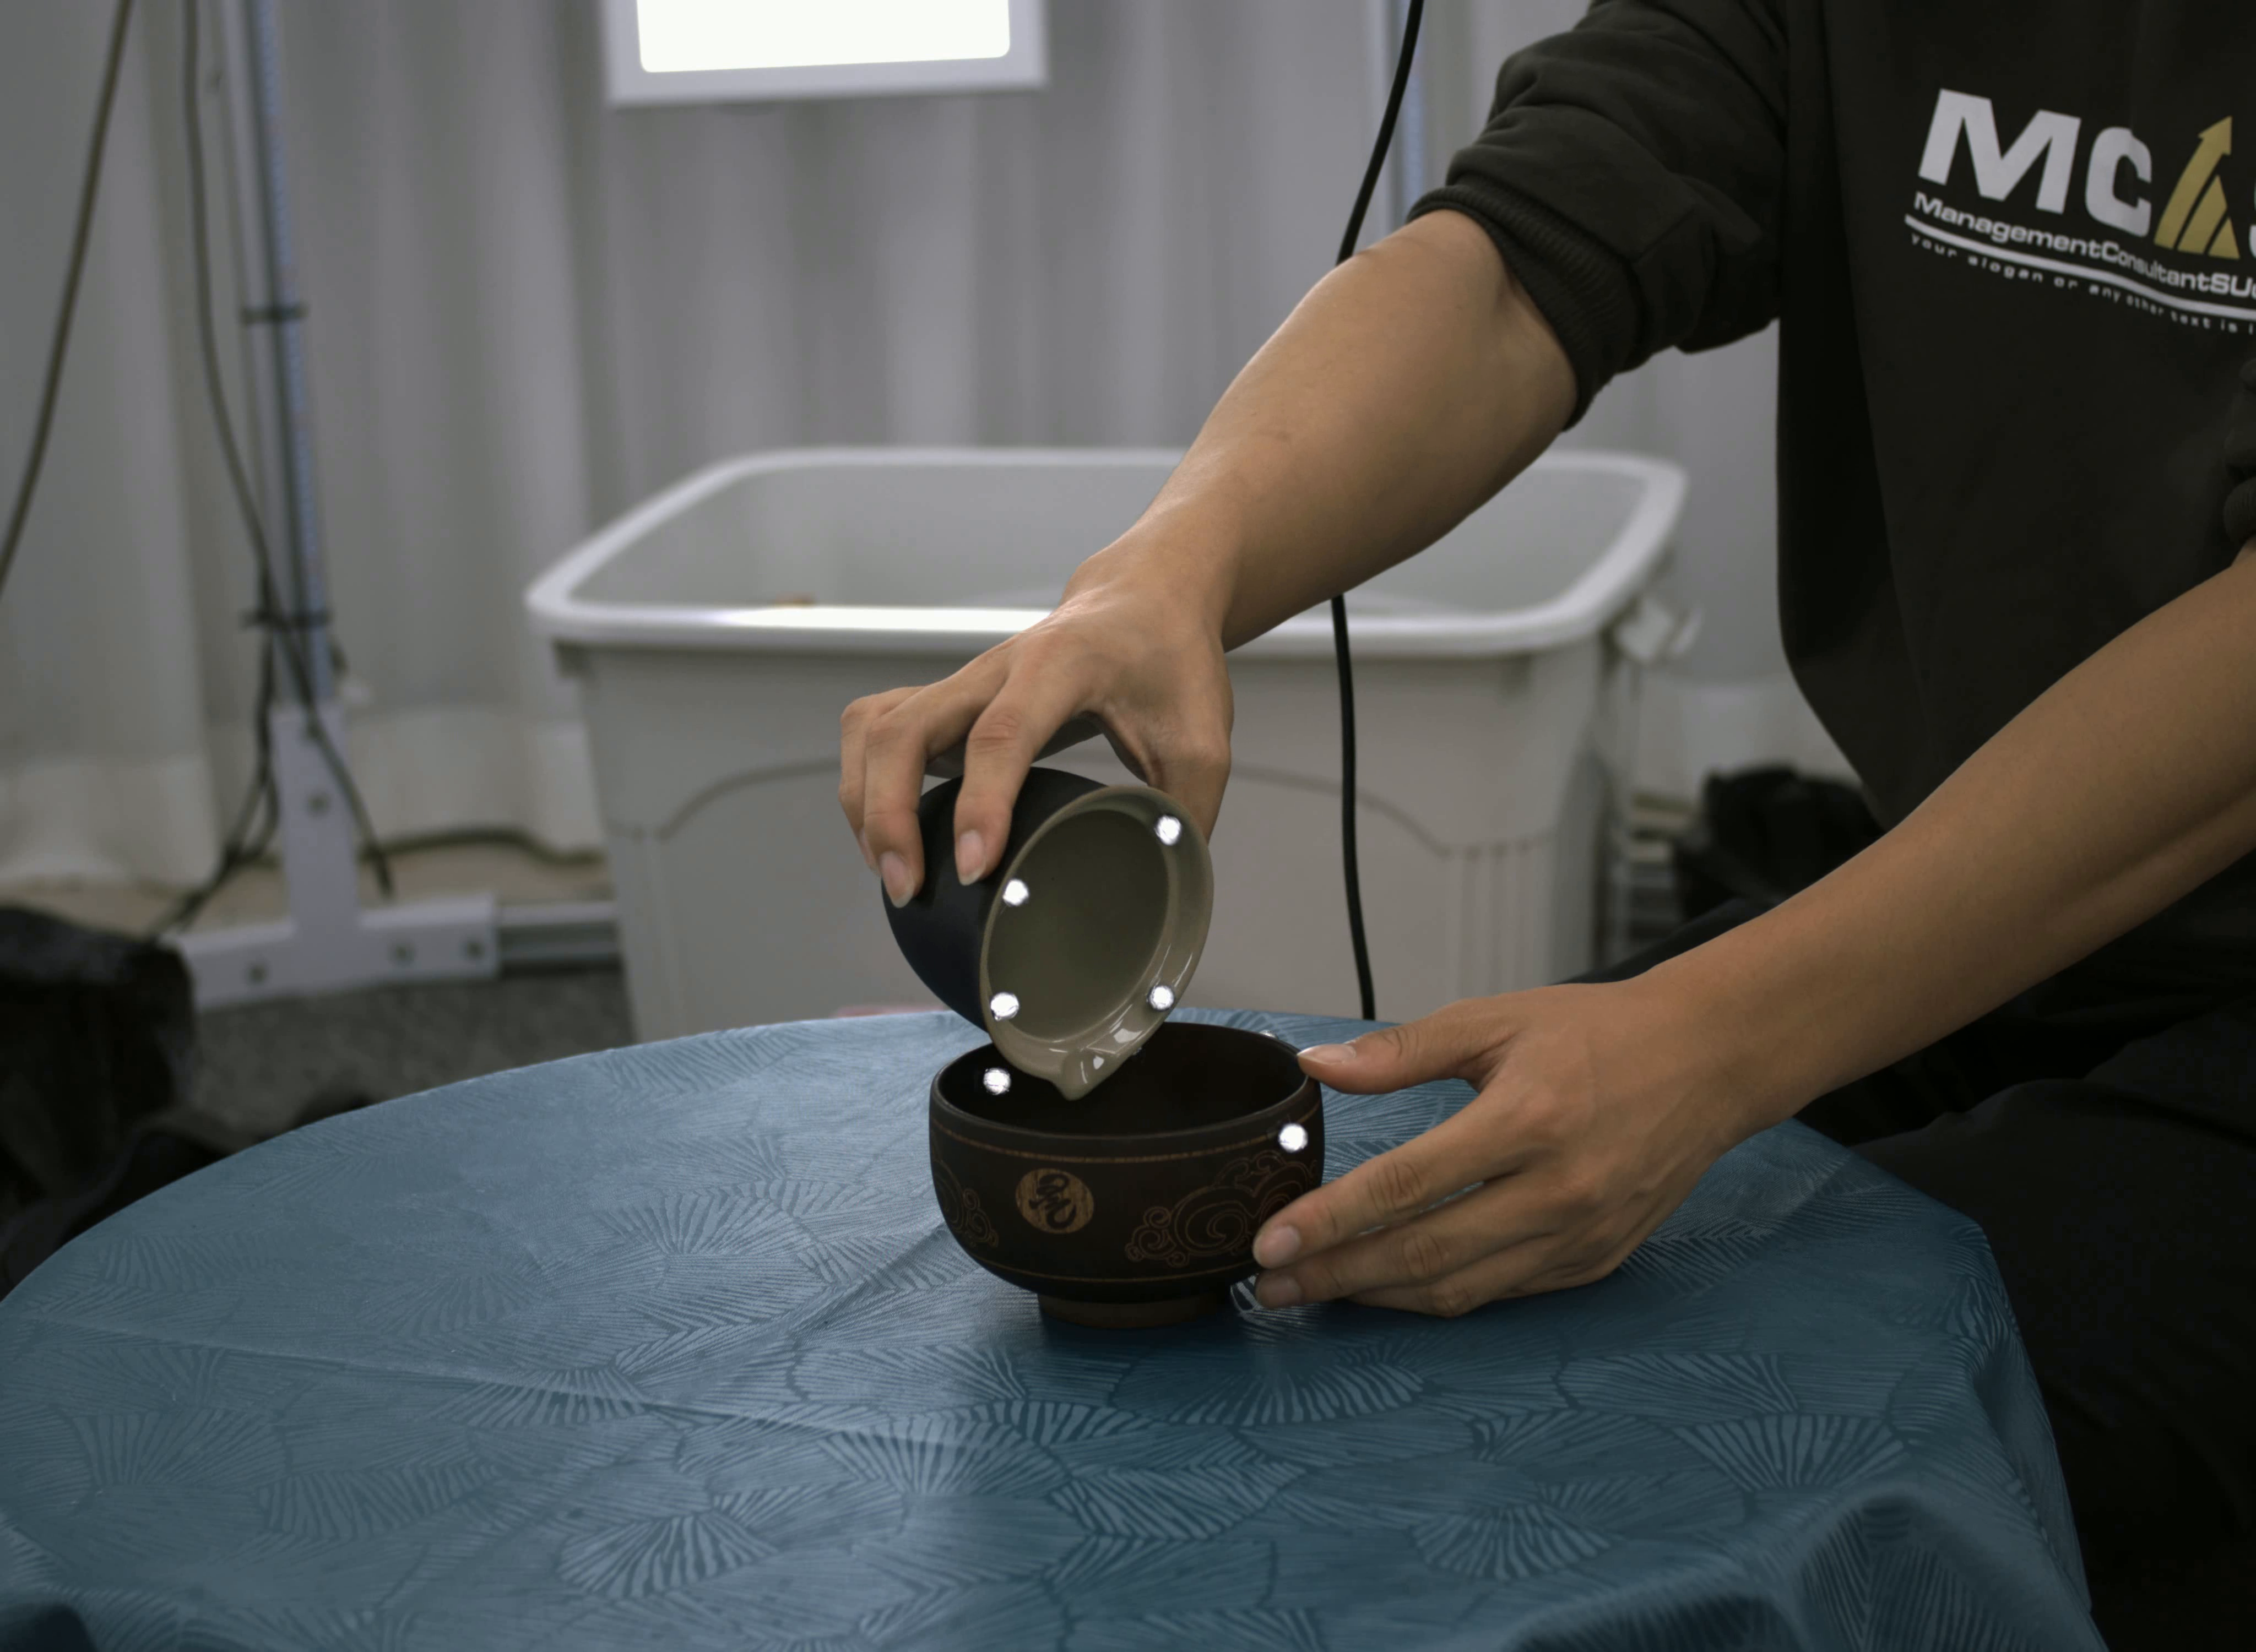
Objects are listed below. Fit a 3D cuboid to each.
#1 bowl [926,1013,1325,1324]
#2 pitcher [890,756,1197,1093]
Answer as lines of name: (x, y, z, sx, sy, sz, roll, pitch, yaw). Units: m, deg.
bowl: (0.001, 0.105, 1.616, 0.117, 0.069, 0.119, -5, 15, 1)
pitcher: (-0.030, 0.023, 1.634, 0.083, 0.095, 0.072, -5, 23, -45)
